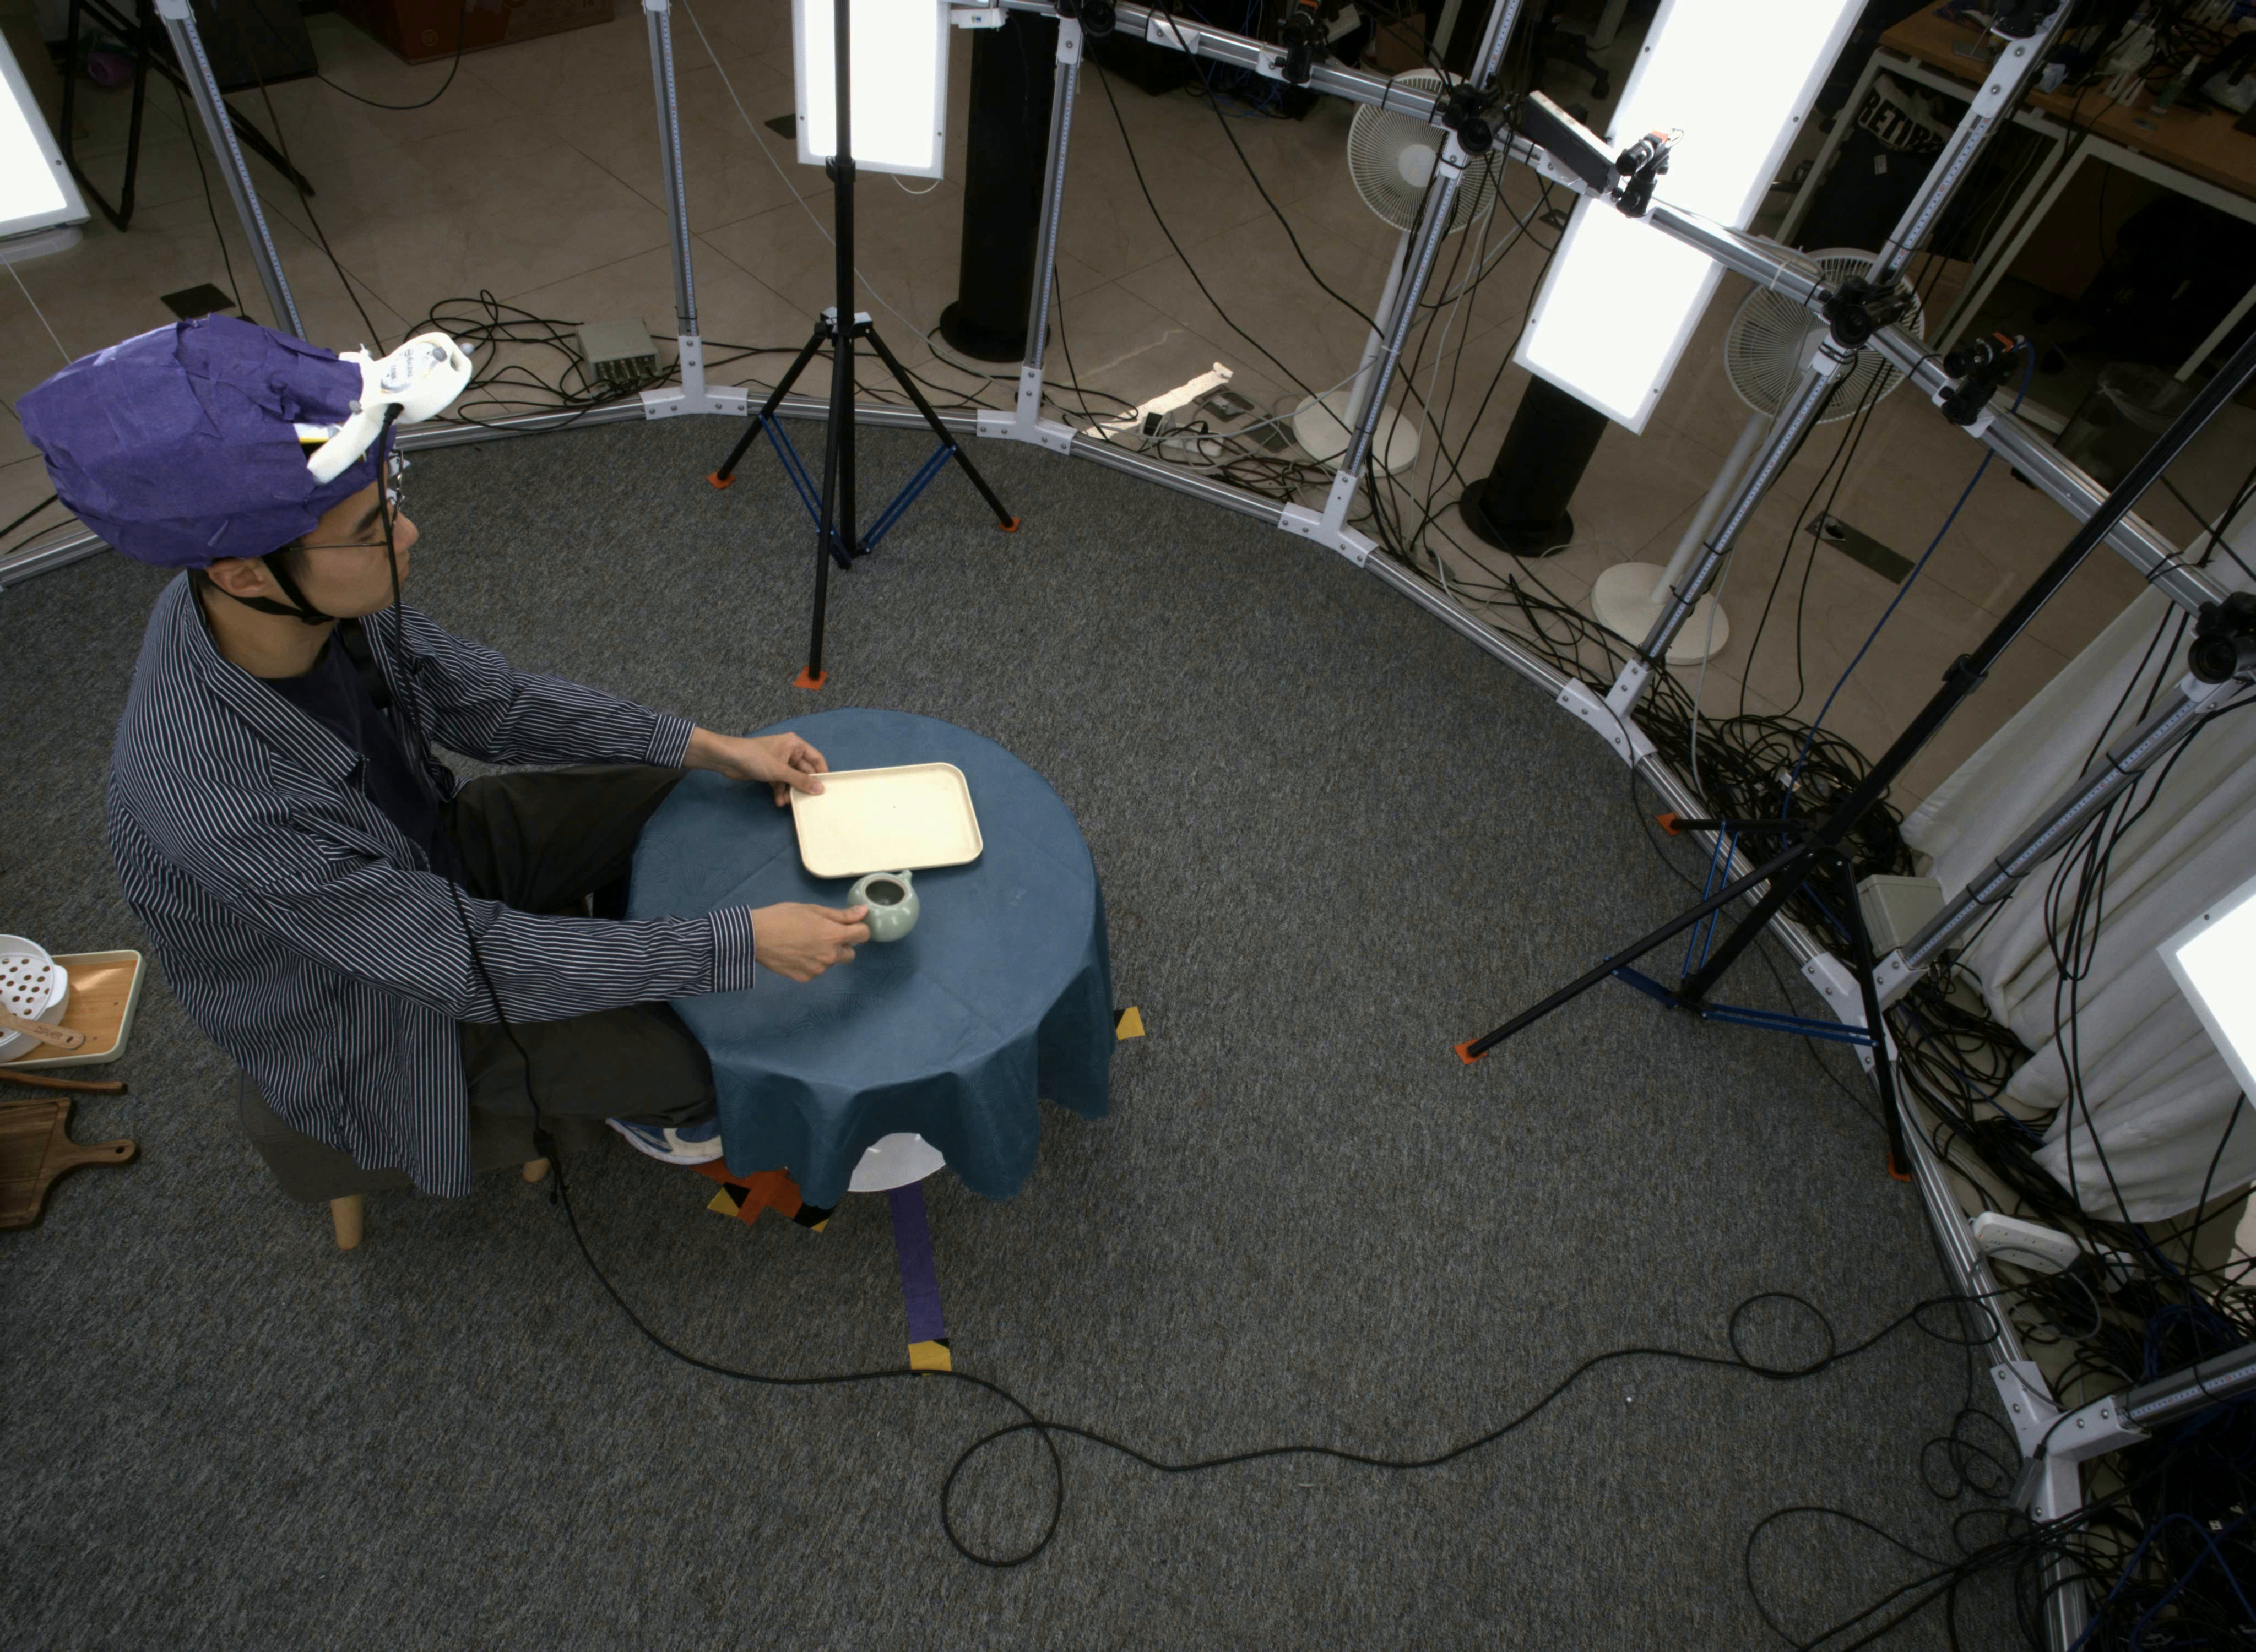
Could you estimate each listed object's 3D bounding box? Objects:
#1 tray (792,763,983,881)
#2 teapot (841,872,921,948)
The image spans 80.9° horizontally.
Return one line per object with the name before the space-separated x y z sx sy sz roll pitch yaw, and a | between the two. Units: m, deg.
tray | -0.323 -0.007 1.746 0.241 0.018 0.167 -6 57 -22
teapot | -0.307 0.106 1.600 0.089 0.062 0.128 33 40 15
